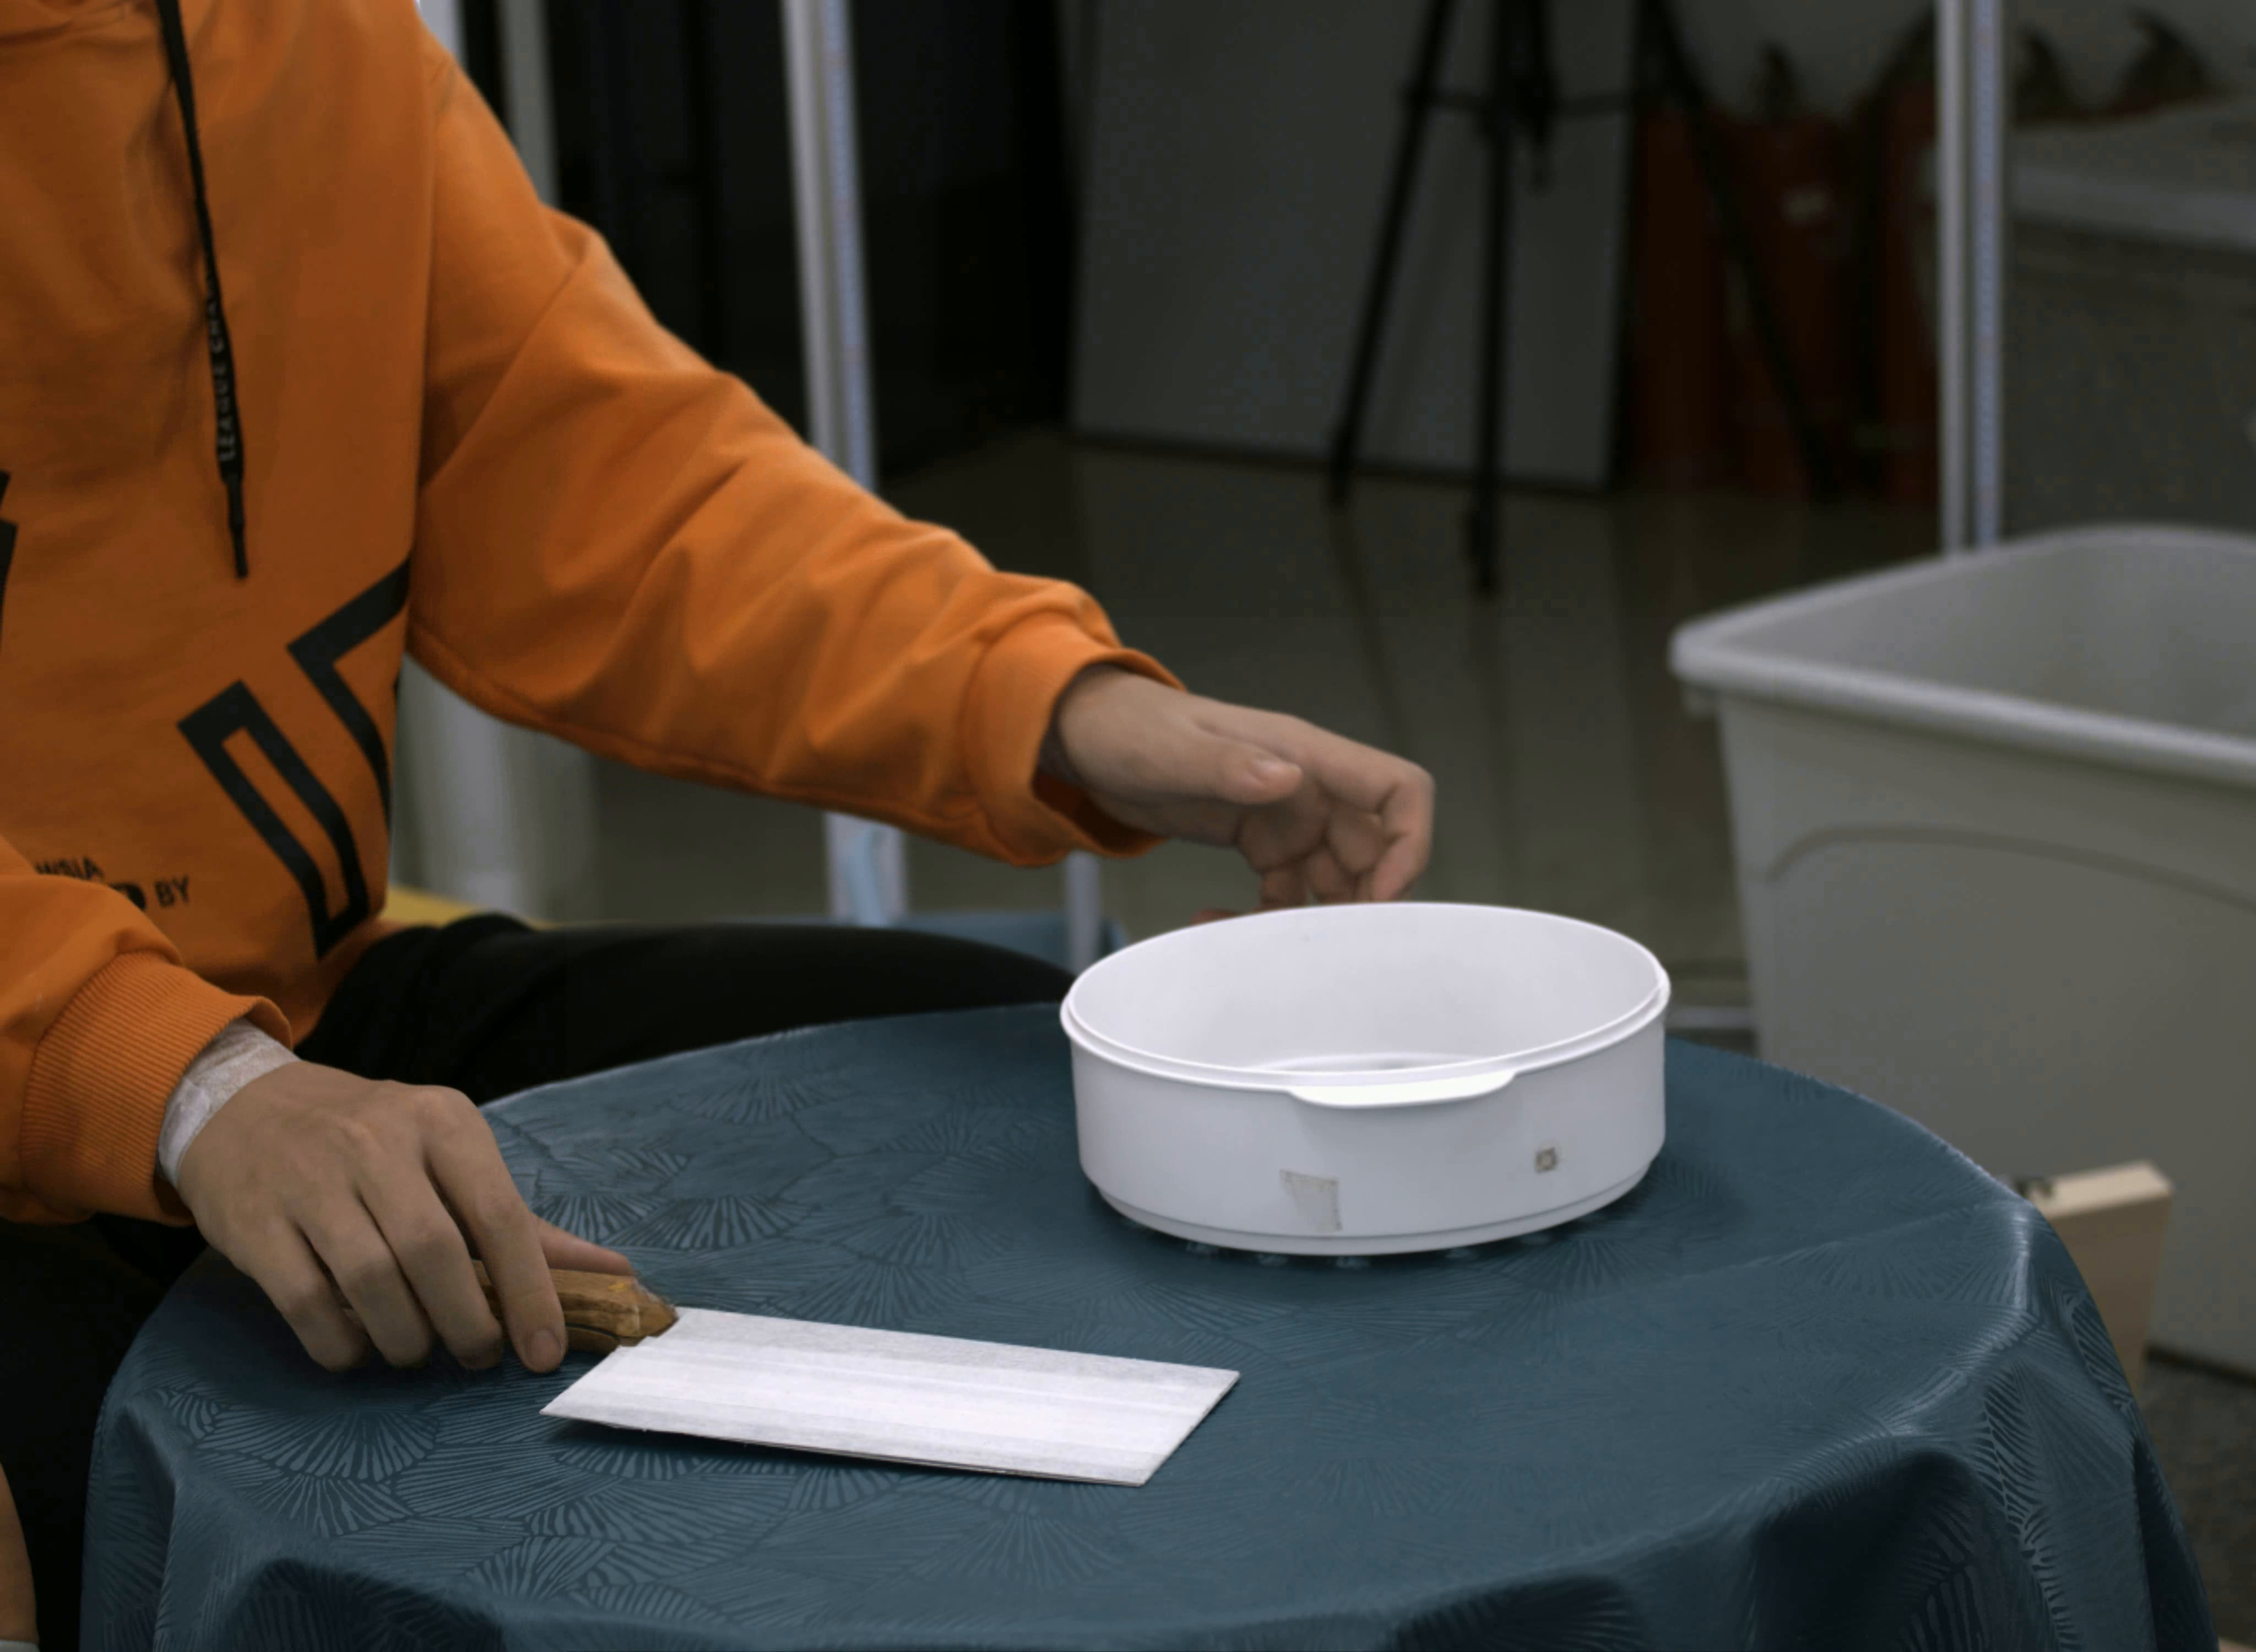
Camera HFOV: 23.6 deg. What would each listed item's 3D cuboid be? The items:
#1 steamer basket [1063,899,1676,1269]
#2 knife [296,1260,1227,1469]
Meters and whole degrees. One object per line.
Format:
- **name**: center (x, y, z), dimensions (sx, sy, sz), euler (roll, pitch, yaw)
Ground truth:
- **steamer basket**: center (0.080, 0.084, 1.754), dimensions (0.199, 0.070, 0.231), euler (-5, 16, -3)
- **knife**: center (-0.121, 0.163, 1.606), dimensions (0.305, 0.021, 0.092), euler (4, 17, 22)
